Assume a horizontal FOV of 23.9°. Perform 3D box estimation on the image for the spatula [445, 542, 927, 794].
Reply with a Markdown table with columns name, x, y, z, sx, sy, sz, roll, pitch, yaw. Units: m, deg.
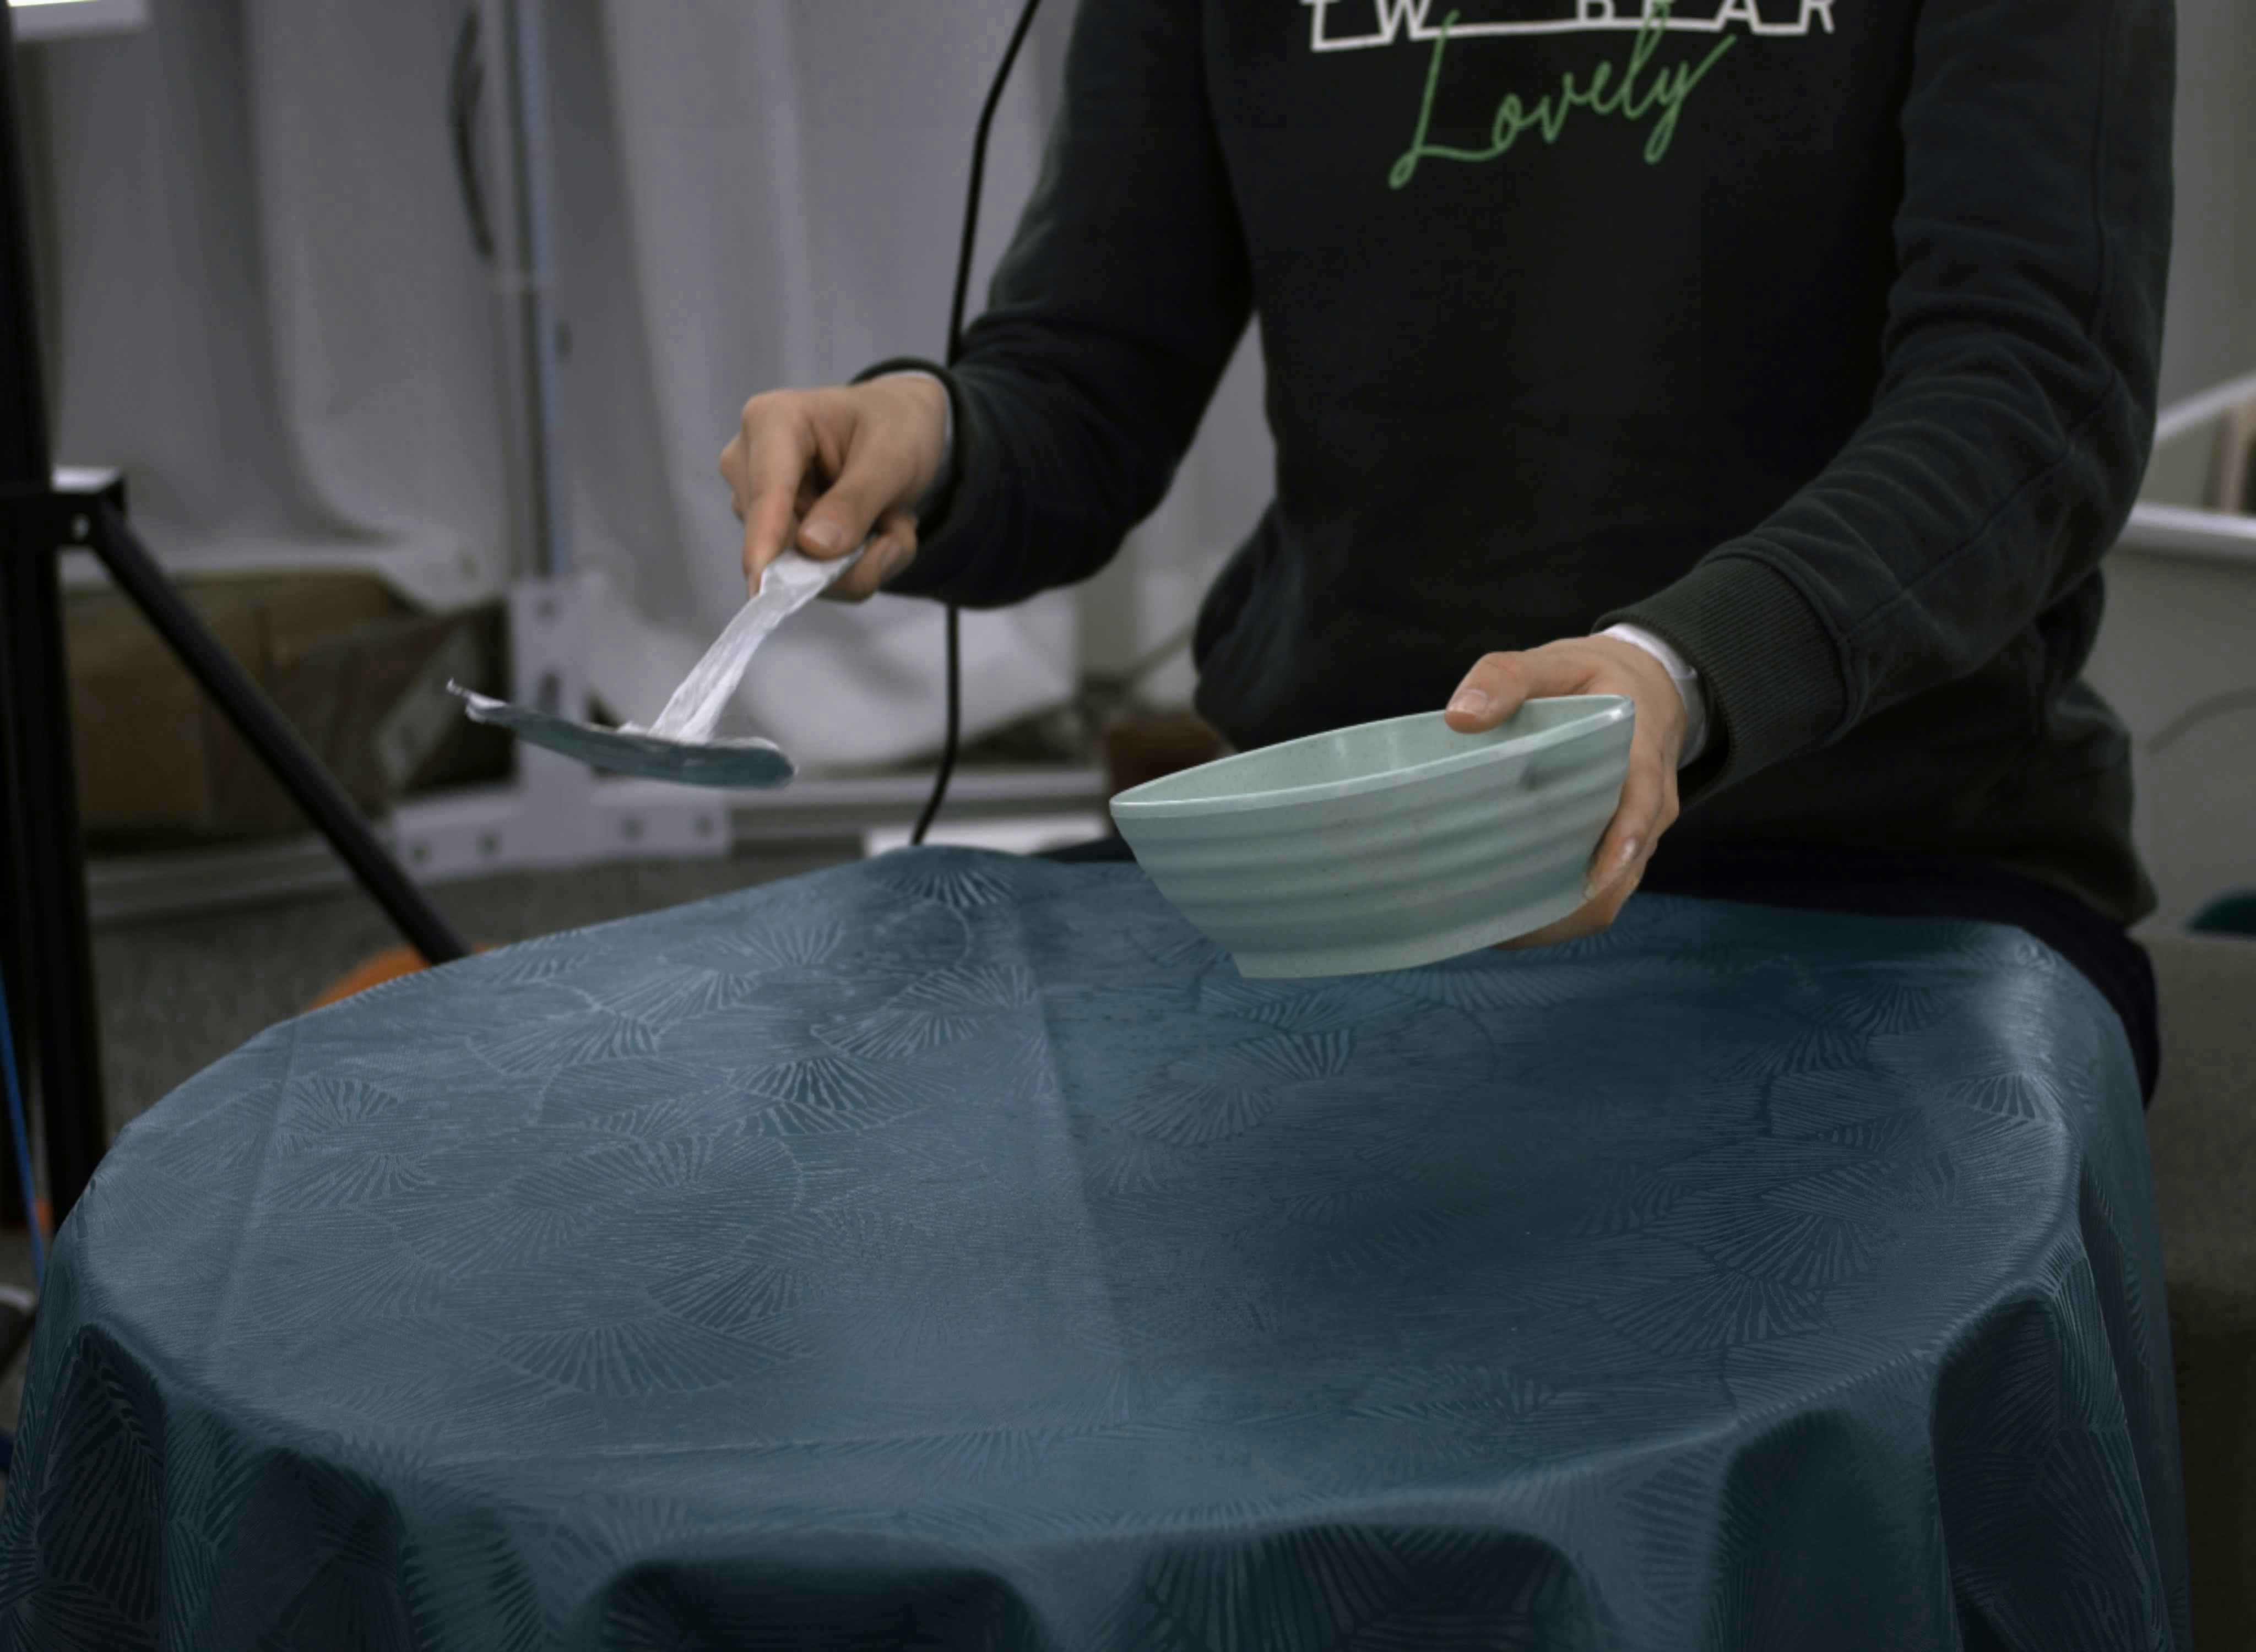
| name | x | y | z | sx | sy | sz | roll | pitch | yaw |
| --- | --- | --- | --- | --- | --- | --- | --- | --- | --- |
| spatula | -0.113 | -0.060 | 1.643 | 0.099 | 0.045 | 0.363 | 8 | 18 | 10 |

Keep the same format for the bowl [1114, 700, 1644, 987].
| name | x | y | z | sx | sy | sz | roll | pitch | yaw |
| --- | --- | --- | --- | --- | --- | --- | --- | --- | --- |
| bowl | 0.075 | 0.007 | 1.498 | 0.151 | 0.059 | 0.152 | -10 | 8 | 0 |
